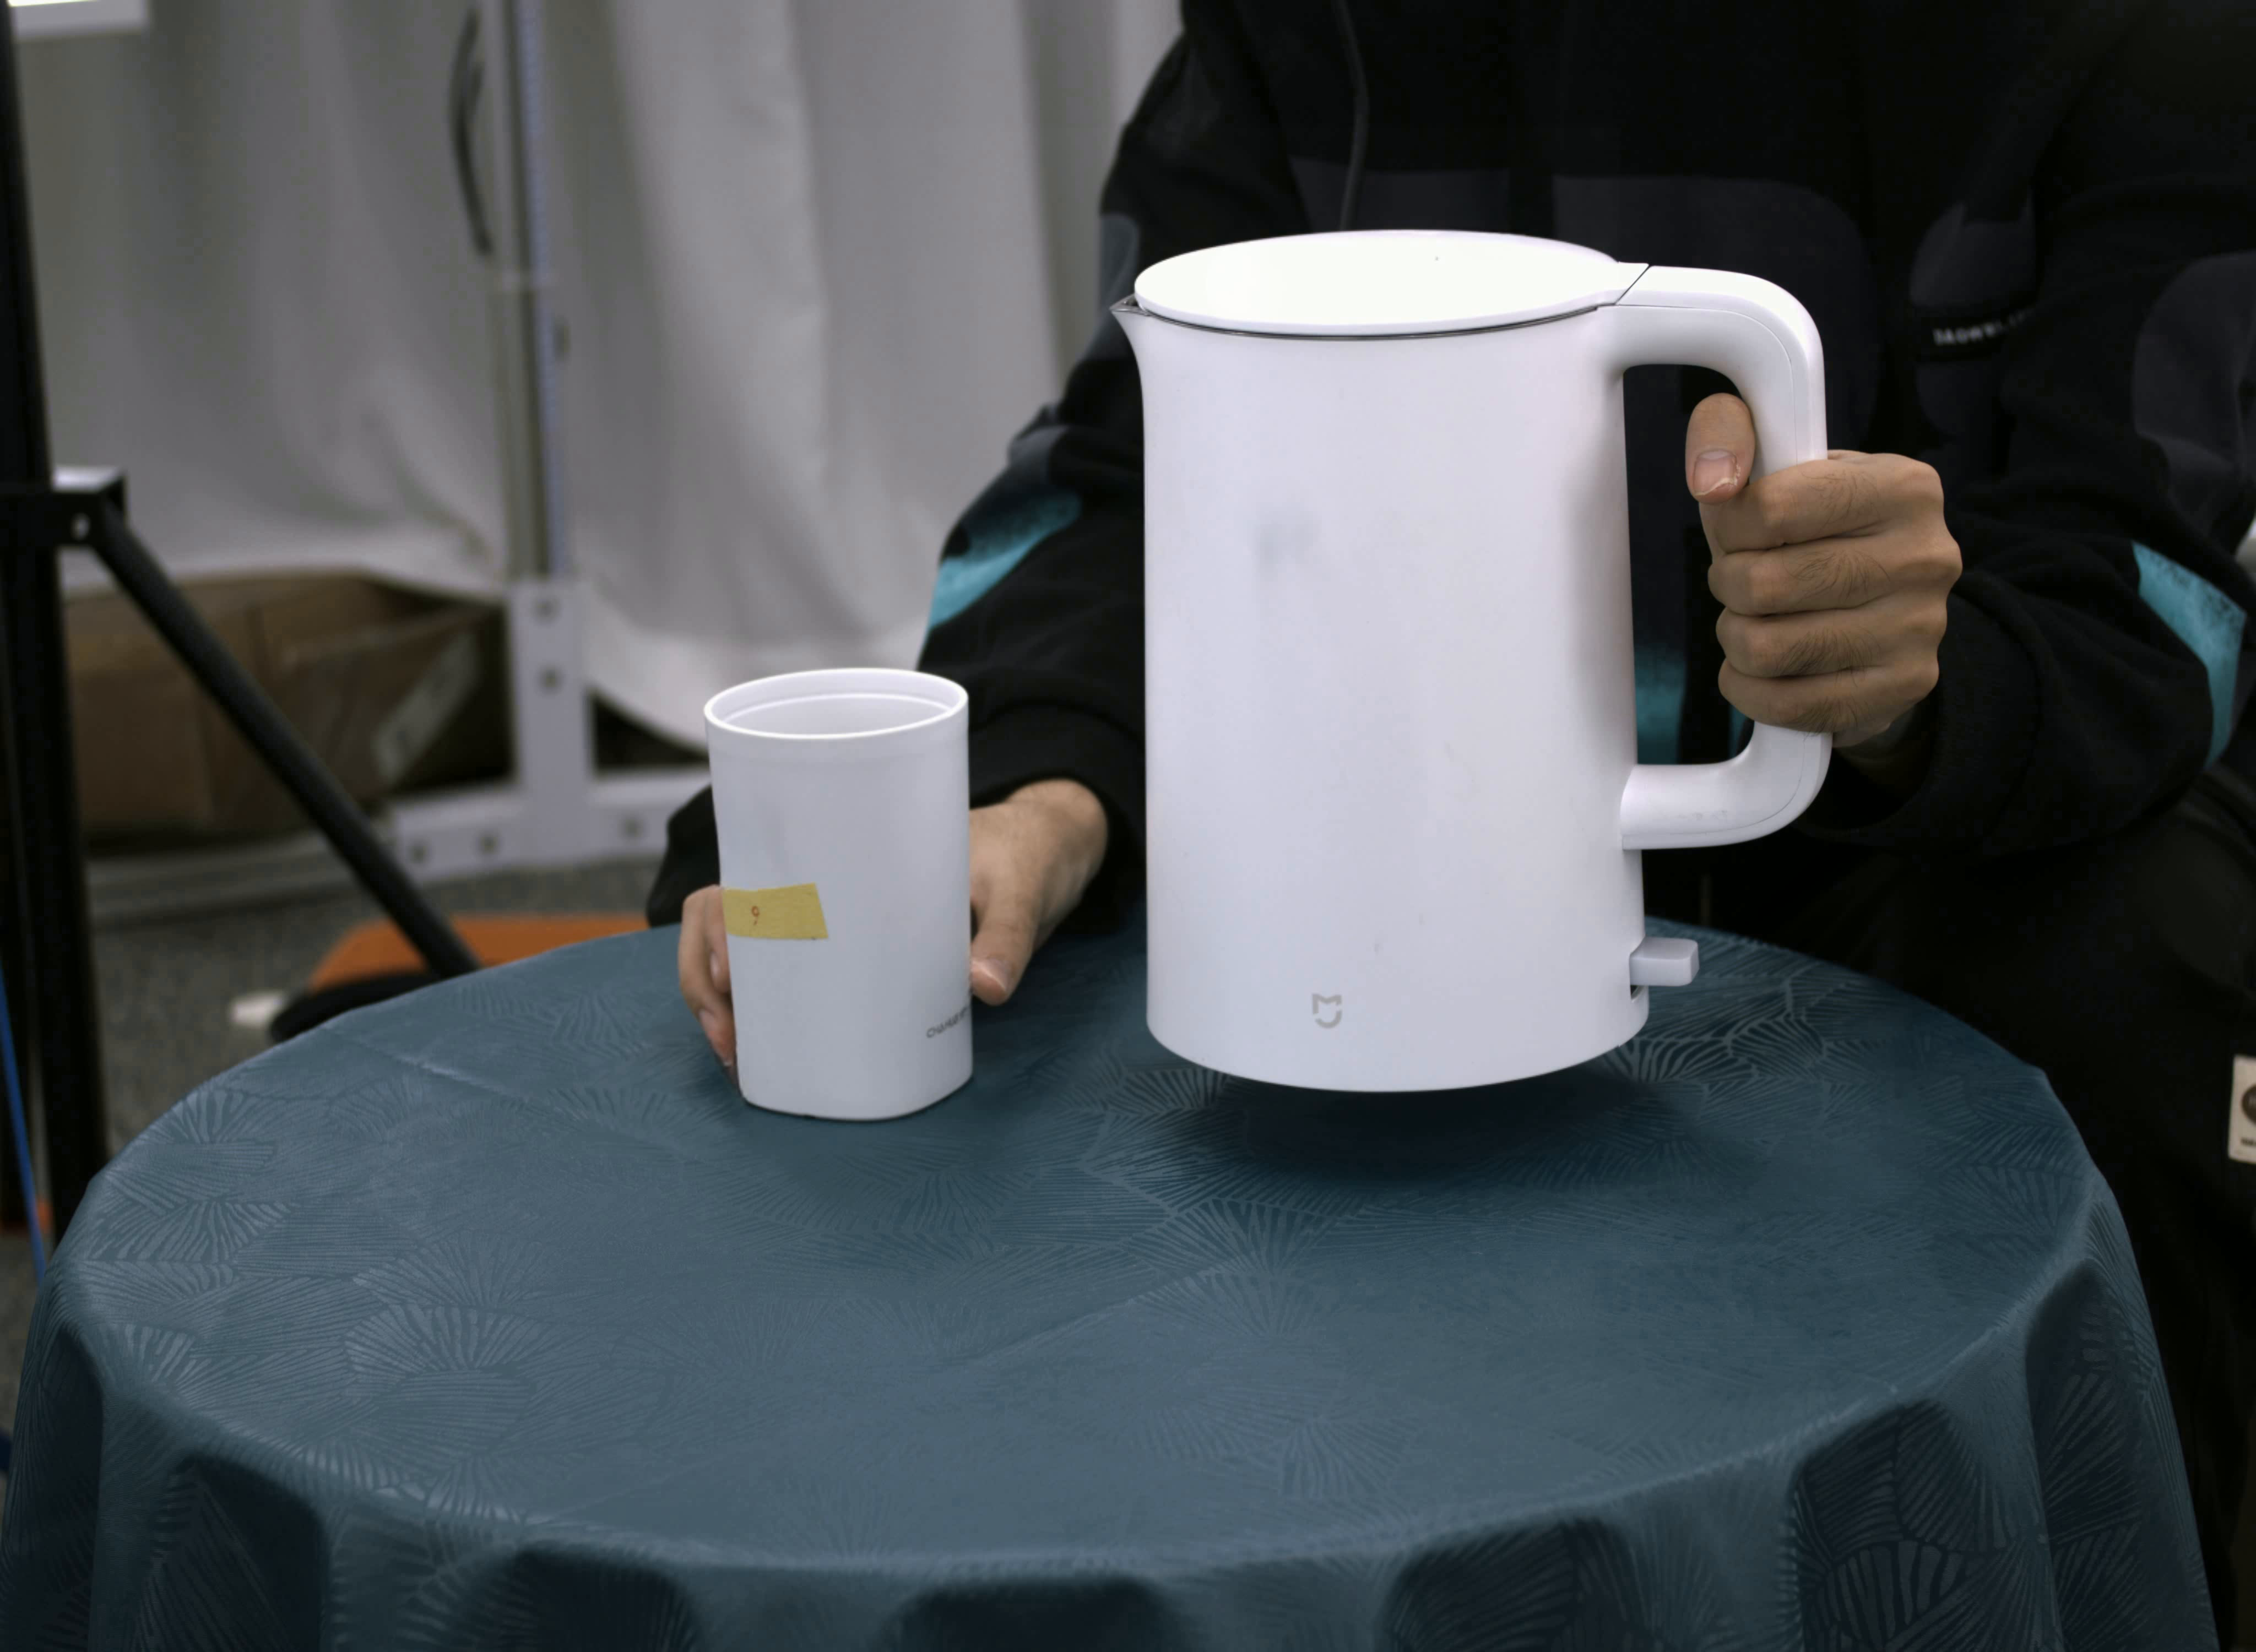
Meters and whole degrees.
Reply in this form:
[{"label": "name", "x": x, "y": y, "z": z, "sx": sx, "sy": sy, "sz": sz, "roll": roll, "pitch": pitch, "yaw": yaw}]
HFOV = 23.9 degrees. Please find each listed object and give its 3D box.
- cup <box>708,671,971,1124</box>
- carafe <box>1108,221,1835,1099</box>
[{"label": "cup", "x": -0.087, "y": 0.023, "z": 1.648, "sx": 0.081, "sy": 0.125, "sz": 0.082, "roll": -2, "pitch": 15, "yaw": -1}, {"label": "carafe", "x": 0.102, "y": -0.050, "z": 1.571, "sx": 0.215, "sy": 0.240, "sz": 0.151, "roll": 2, "pitch": 17, "yaw": 18}]
